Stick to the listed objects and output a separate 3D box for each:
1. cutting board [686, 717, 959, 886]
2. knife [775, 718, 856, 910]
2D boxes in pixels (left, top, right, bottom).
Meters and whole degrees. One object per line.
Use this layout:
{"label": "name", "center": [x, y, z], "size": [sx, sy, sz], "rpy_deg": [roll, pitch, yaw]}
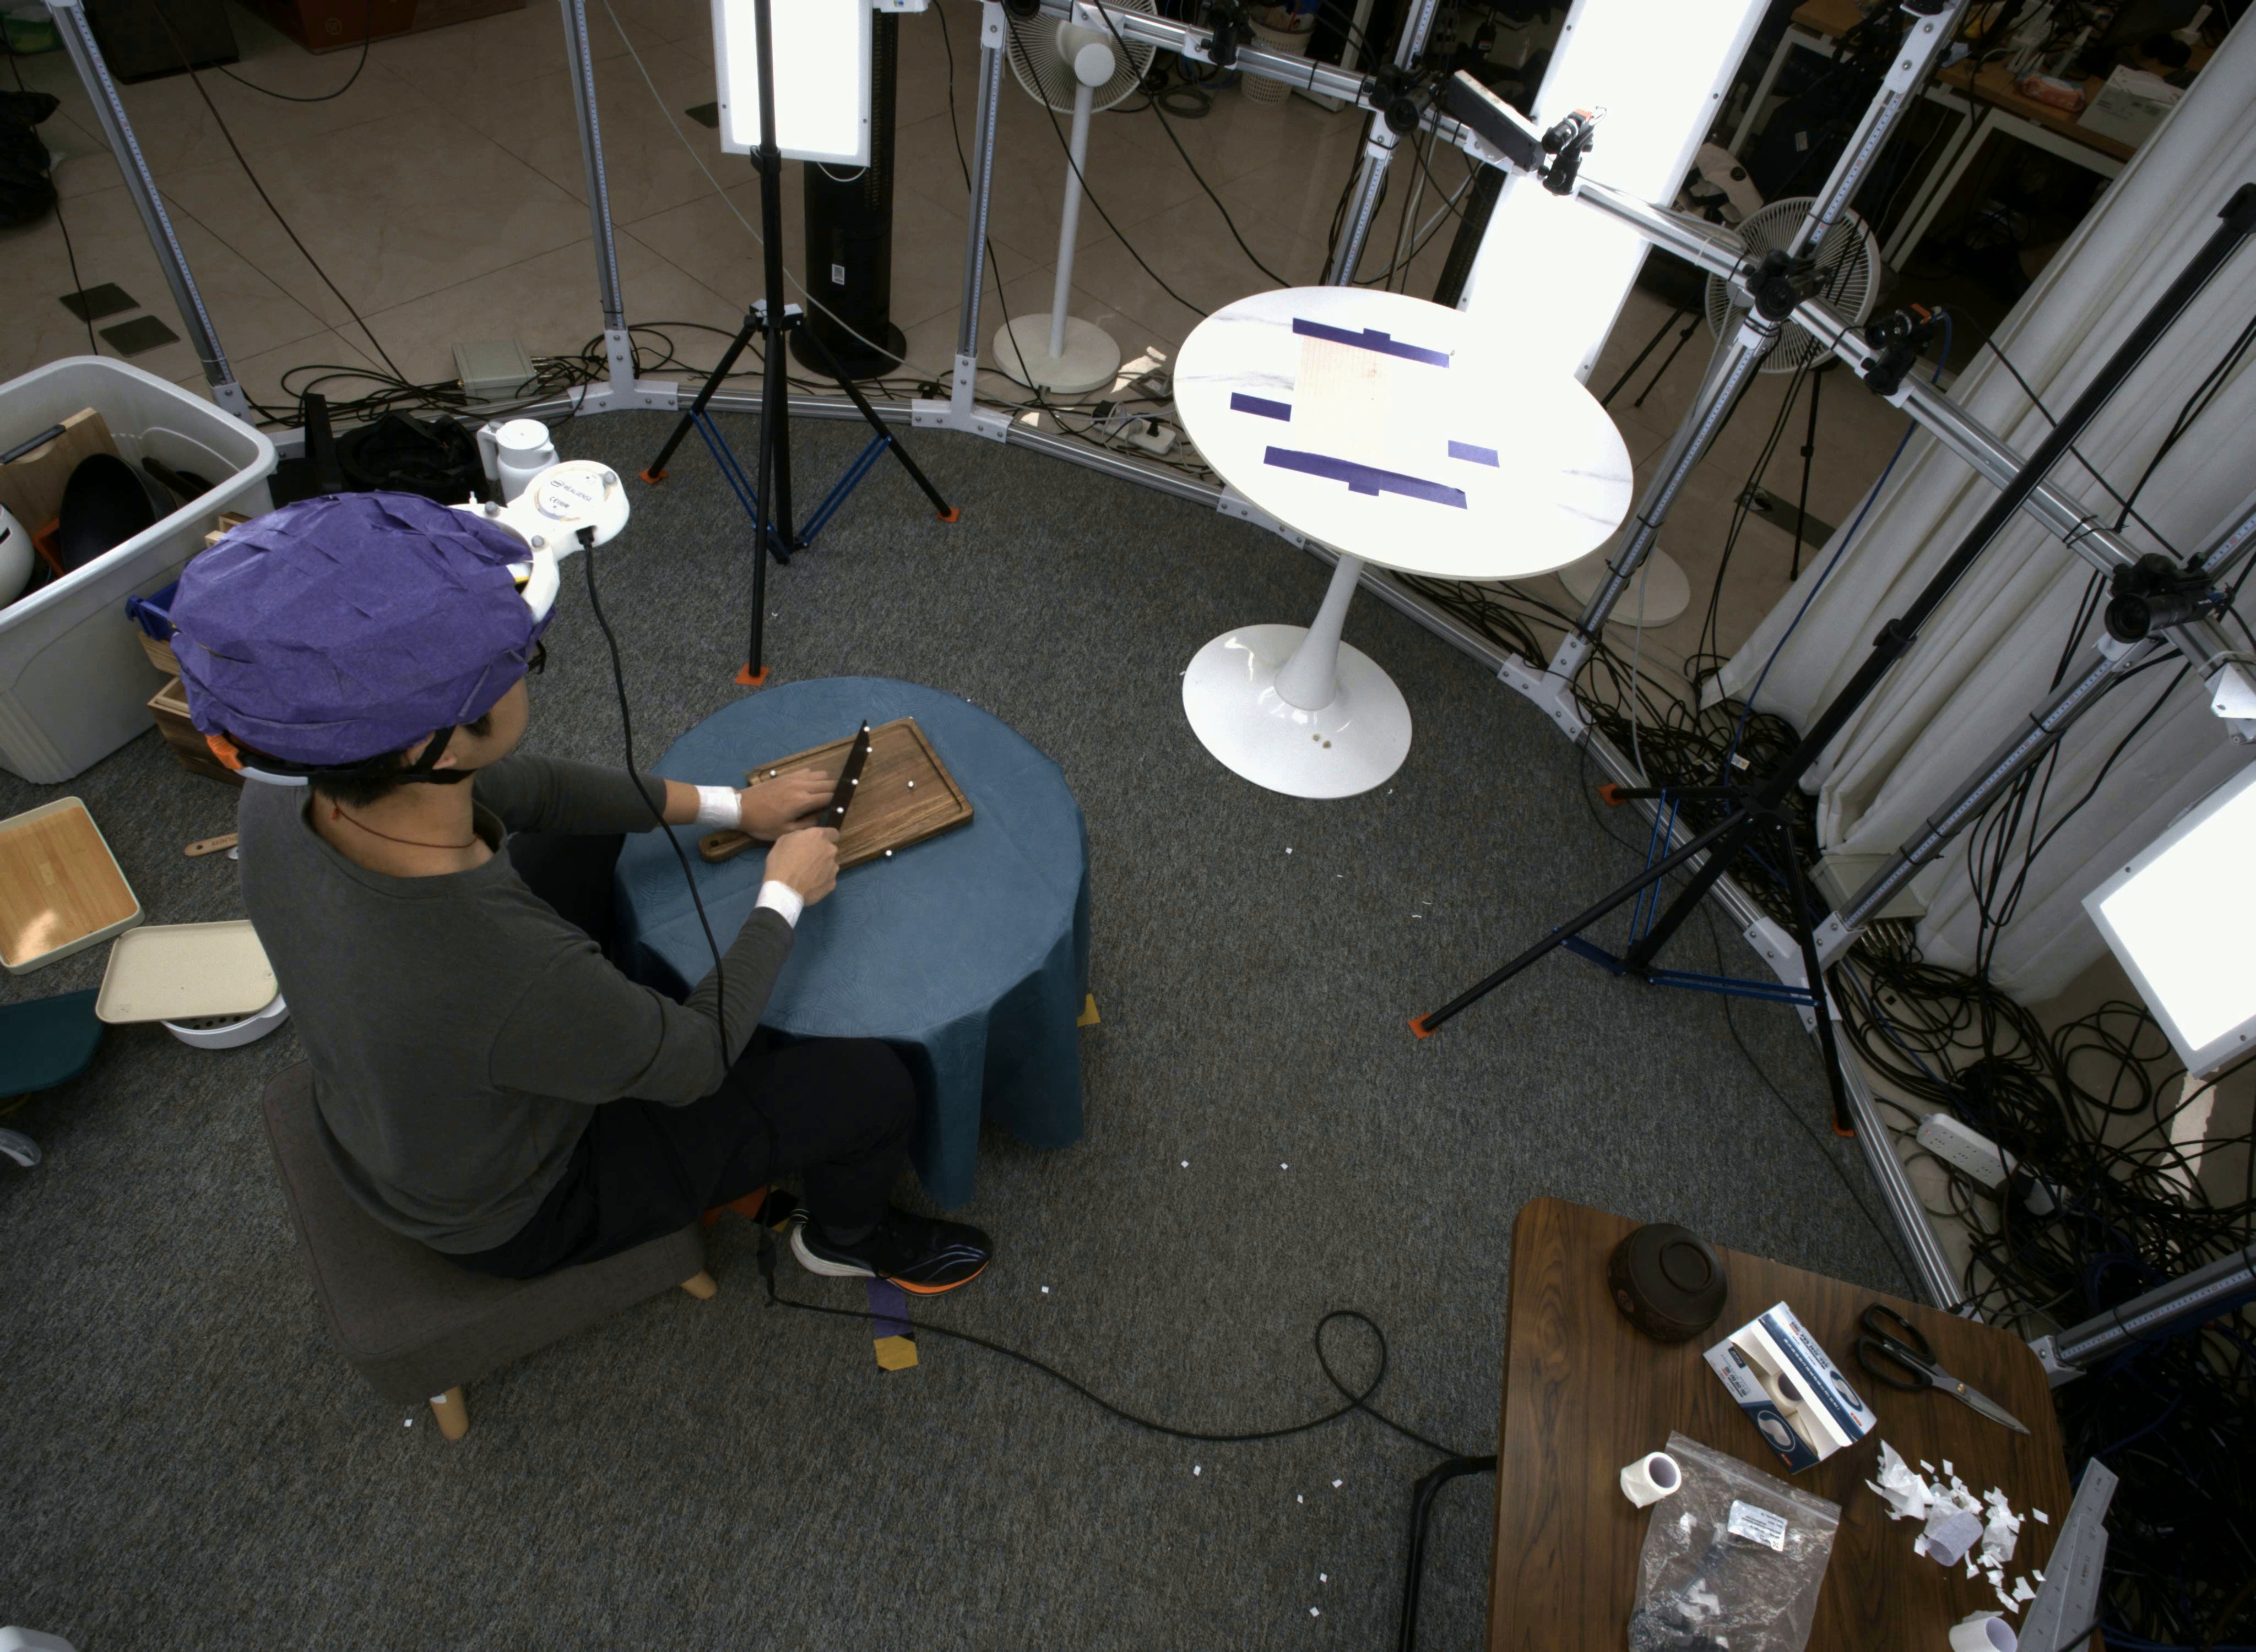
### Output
{"label": "cutting board", "center": [-0.423, -0.023, 1.738], "size": [0.354, 0.023, 0.196], "rpy_deg": [-24, 62, -28]}
{"label": "knife", "center": [-0.400, -0.015, 1.683], "size": [0.020, 0.083, 0.298], "rpy_deg": [8, 47, 5]}
